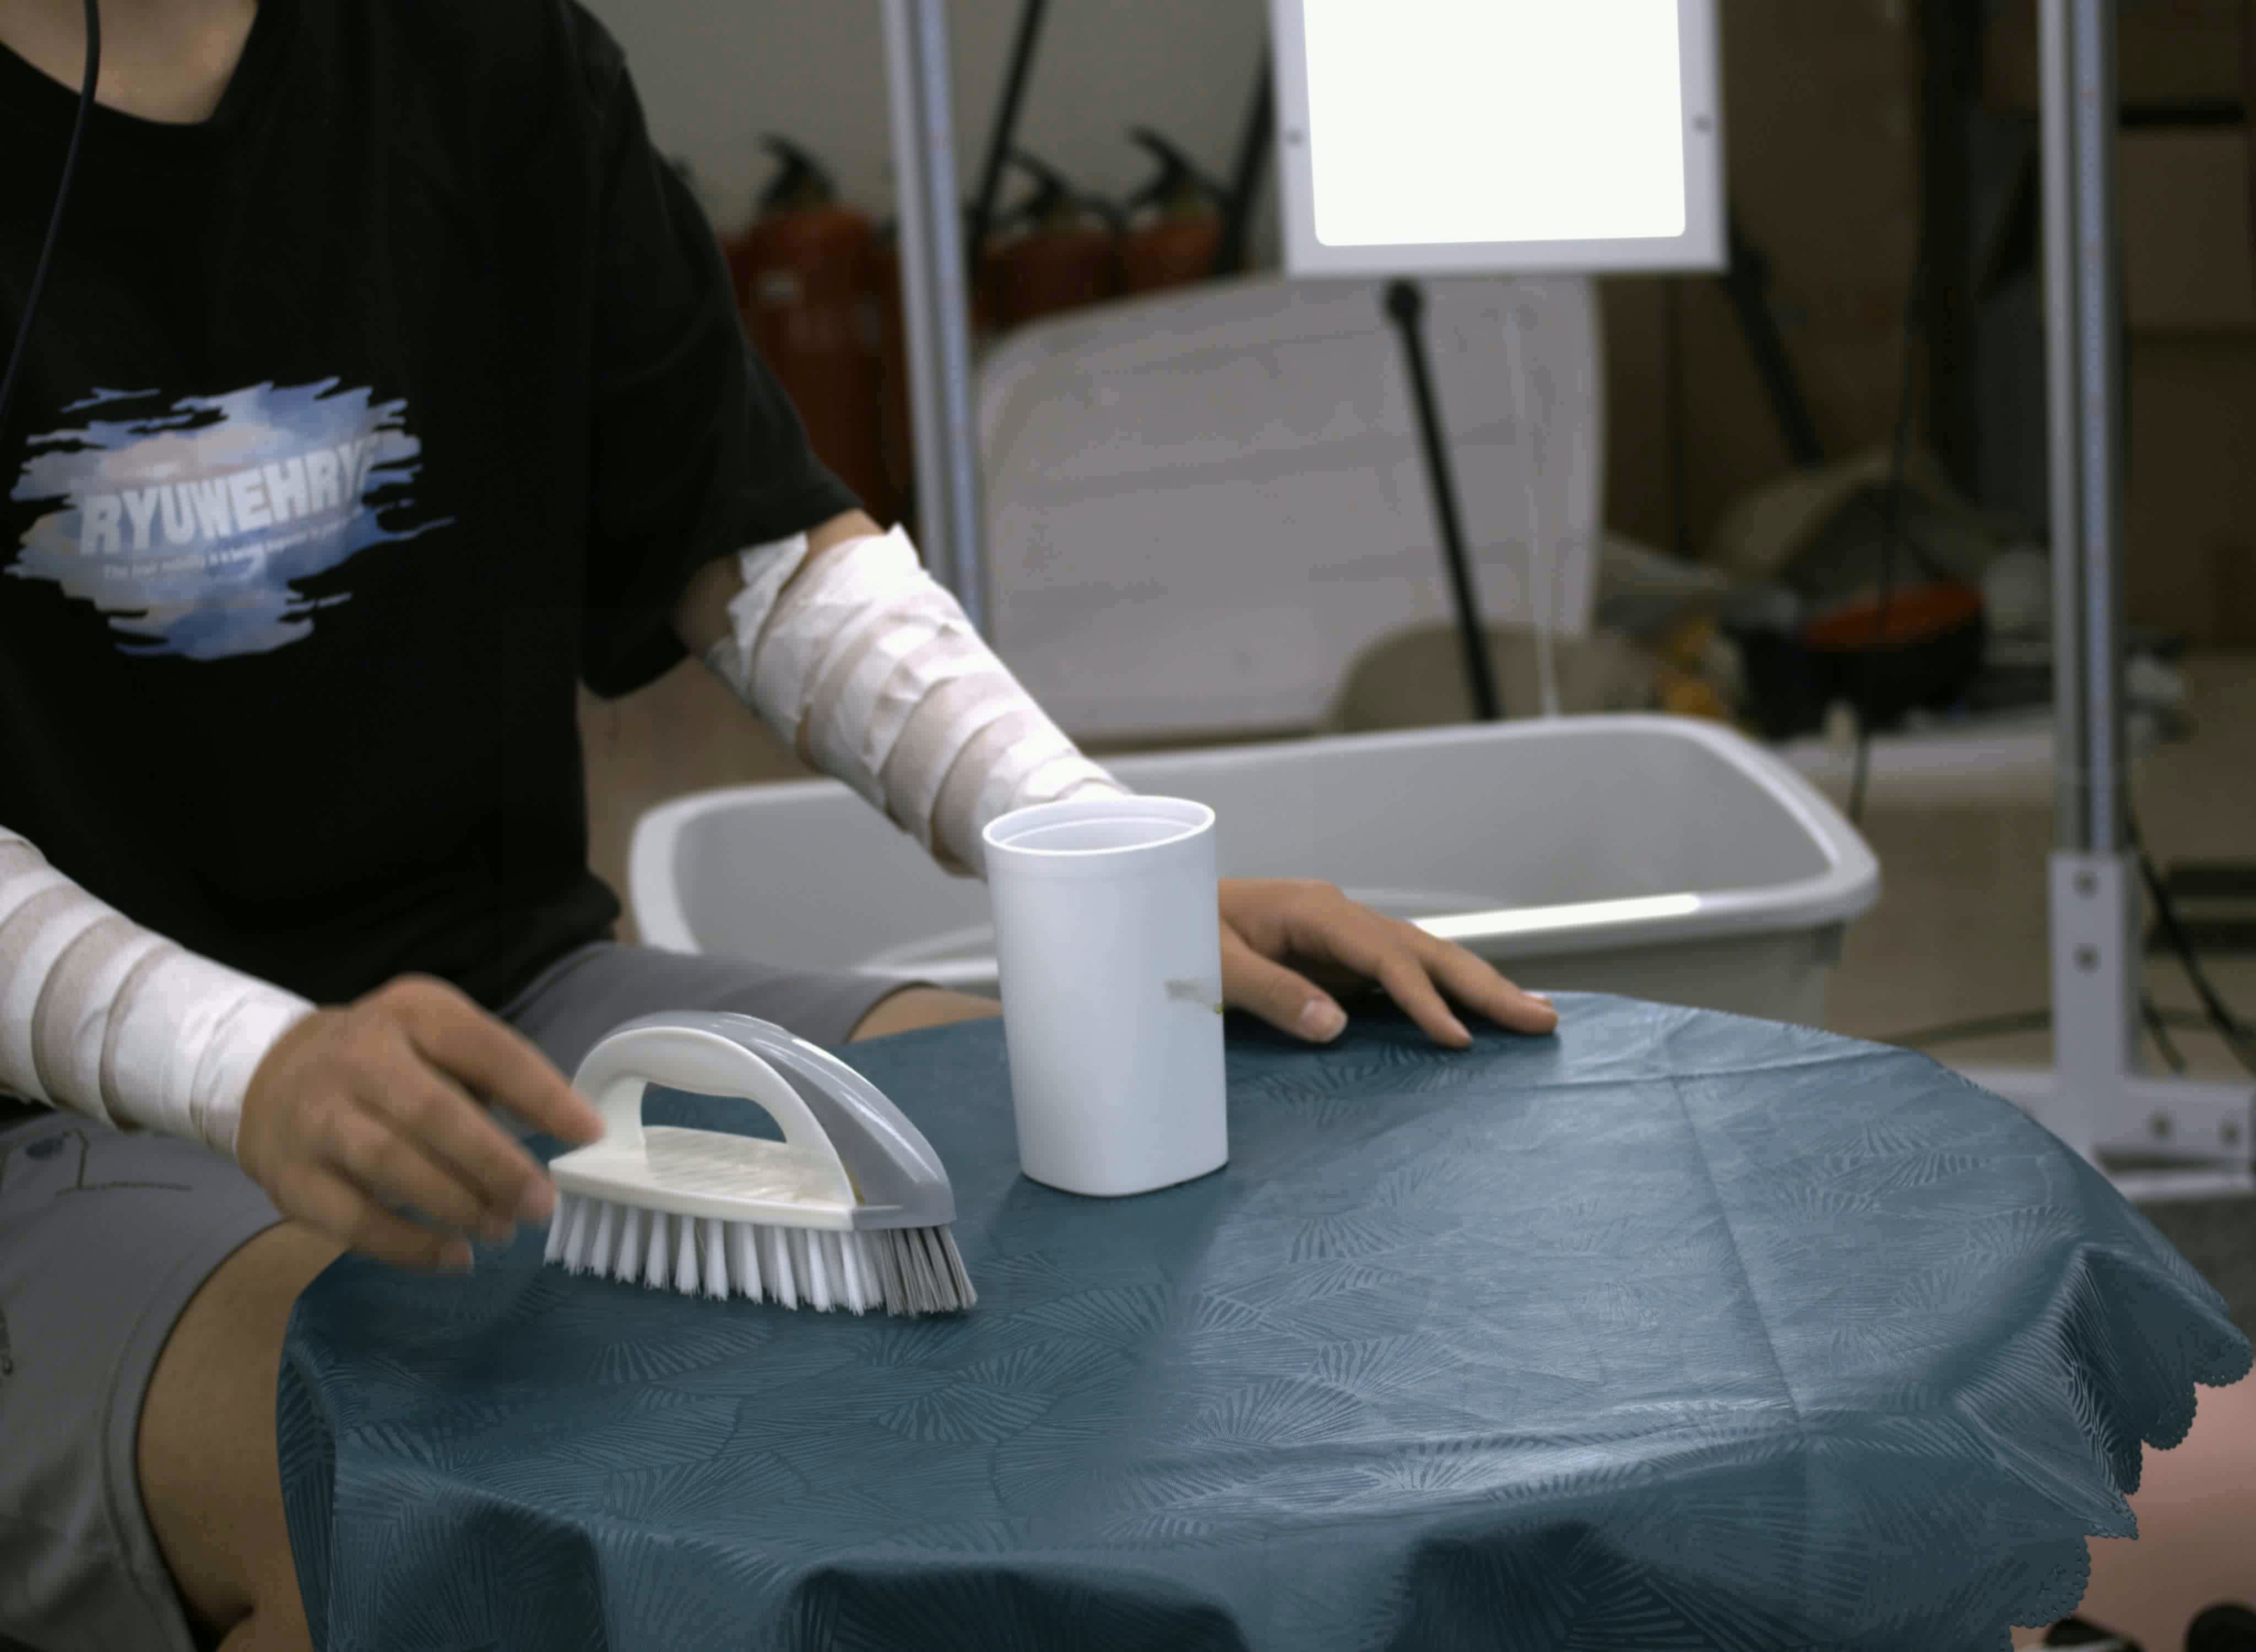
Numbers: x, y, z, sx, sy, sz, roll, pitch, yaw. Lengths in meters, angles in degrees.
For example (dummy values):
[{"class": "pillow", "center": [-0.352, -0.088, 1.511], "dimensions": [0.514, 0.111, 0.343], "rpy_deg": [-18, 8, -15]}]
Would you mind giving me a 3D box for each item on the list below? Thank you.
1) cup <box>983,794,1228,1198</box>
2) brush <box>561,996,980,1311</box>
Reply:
[{"class": "cup", "center": [-0.005, 0.059, 1.914], "dimensions": [0.081, 0.126, 0.081], "rpy_deg": [-5, 15, 0]}, {"class": "brush", "center": [-0.119, 0.106, 1.834], "dimensions": [0.179, 0.094, 0.060], "rpy_deg": [10, 25, 42]}]
